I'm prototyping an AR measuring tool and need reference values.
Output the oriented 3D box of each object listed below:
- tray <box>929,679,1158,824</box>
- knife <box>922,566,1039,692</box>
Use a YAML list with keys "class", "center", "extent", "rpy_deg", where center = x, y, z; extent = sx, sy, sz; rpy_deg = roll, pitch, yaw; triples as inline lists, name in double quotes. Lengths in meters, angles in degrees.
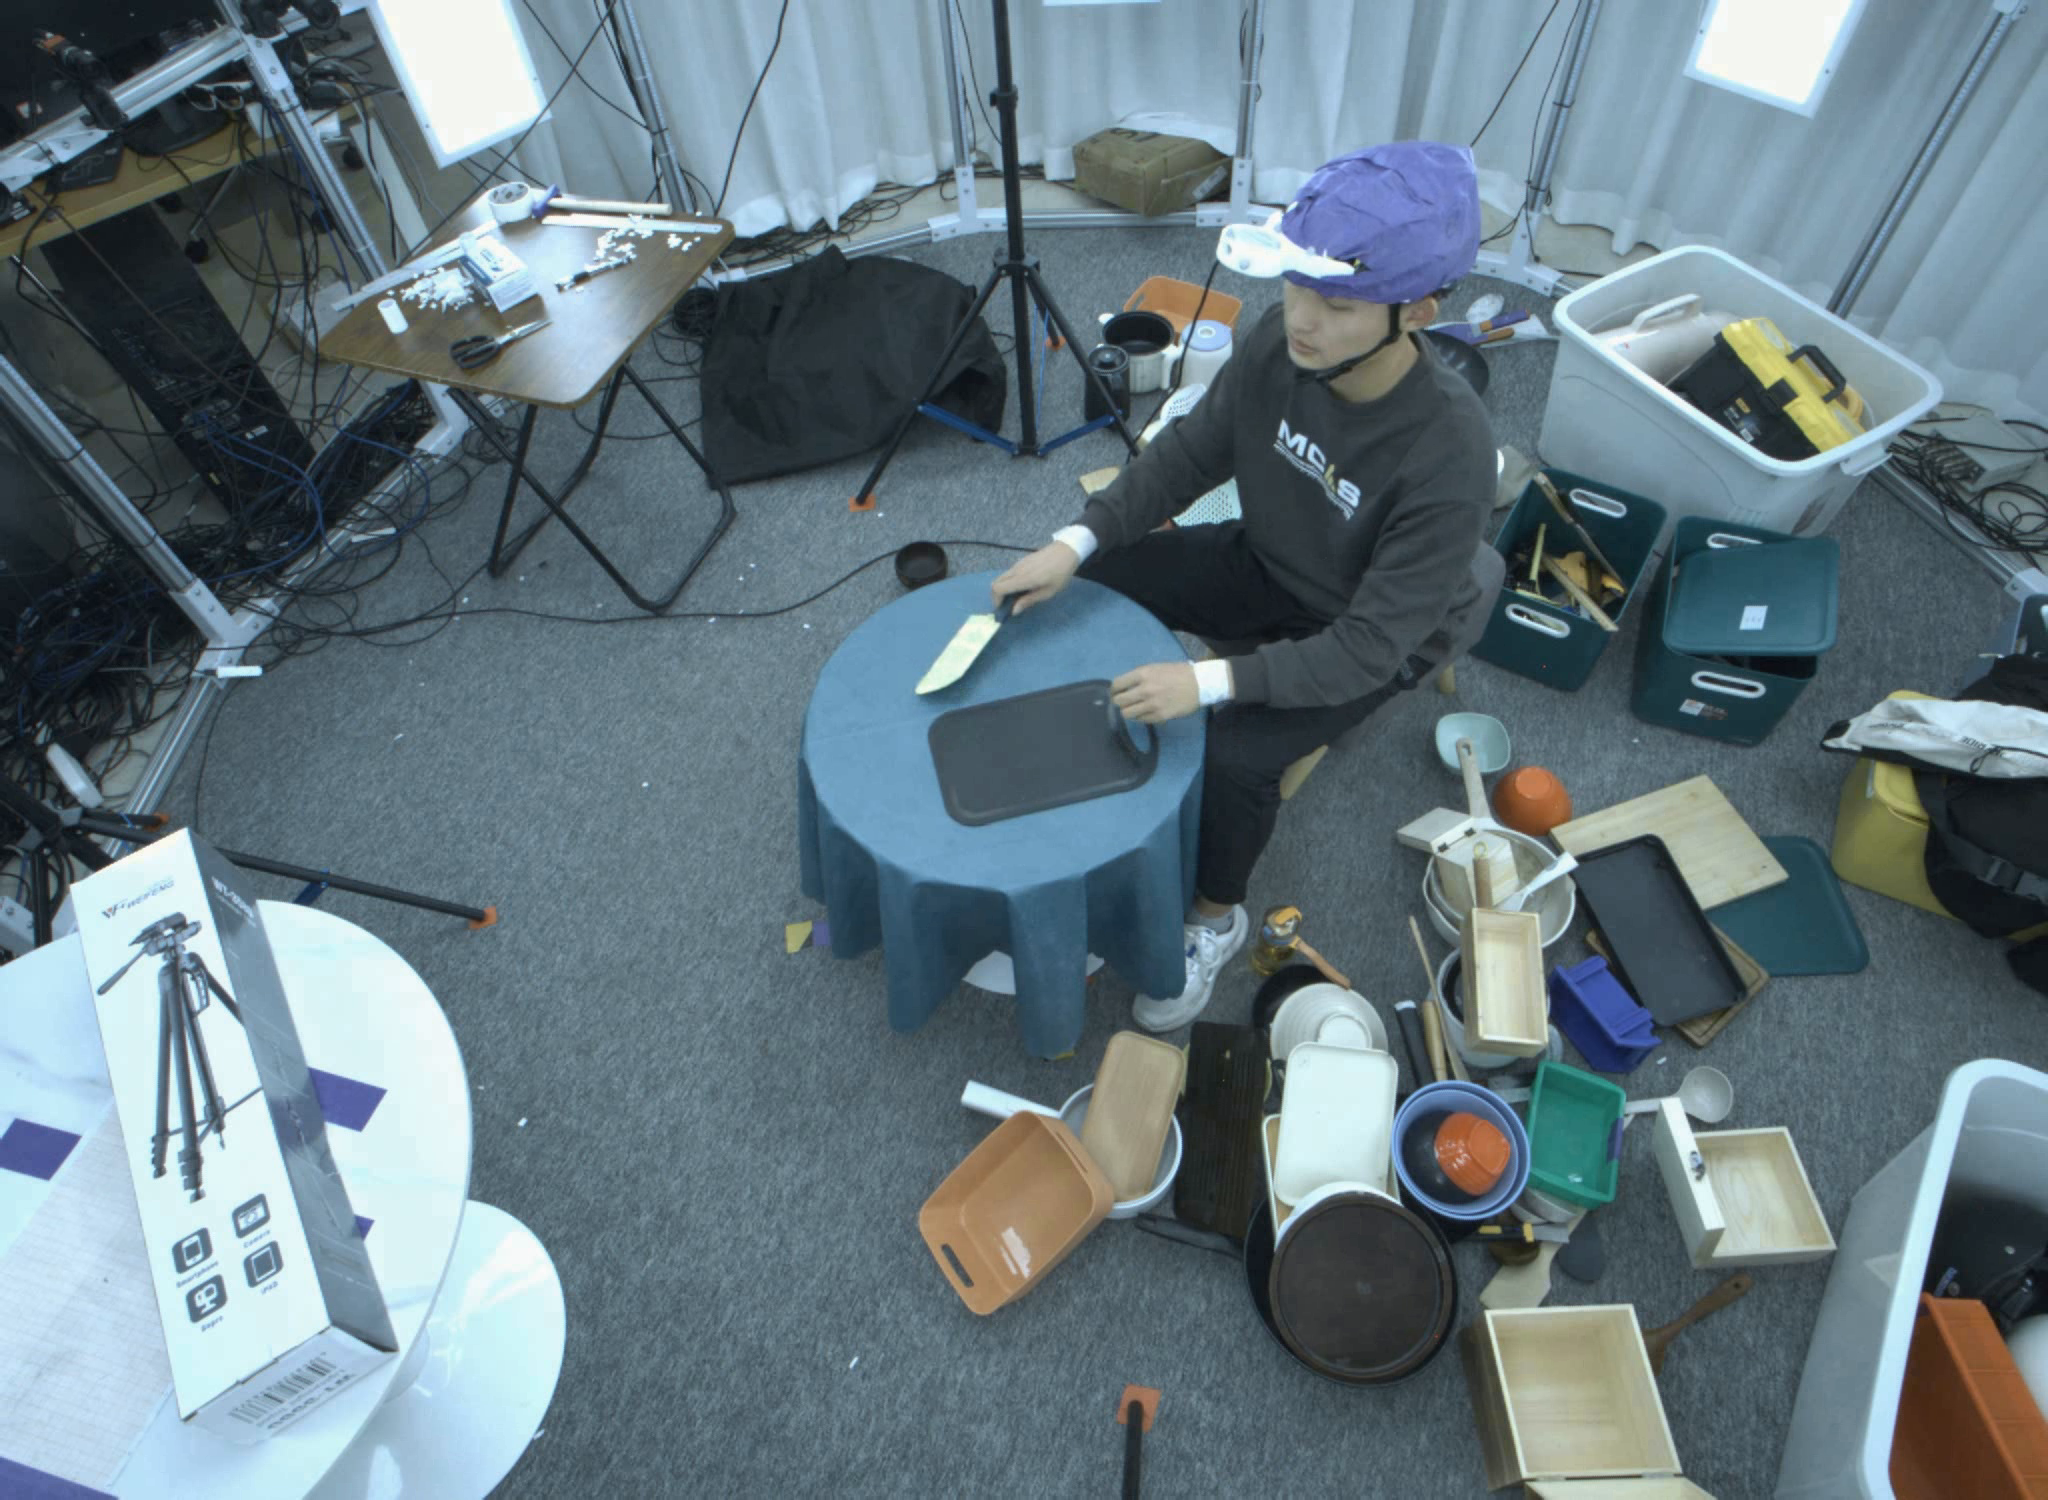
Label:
- class: "tray"
  center: [0.031, -0.006, 1.794]
  extent: [0.327, 0.010, 0.208]
  rpy_deg: [-12, 55, -7]
- class: "knife"
  center: [-0.068, -0.189, 1.901]
  extent: [0.079, 0.028, 0.290]
  rpy_deg: [16, 56, 37]
